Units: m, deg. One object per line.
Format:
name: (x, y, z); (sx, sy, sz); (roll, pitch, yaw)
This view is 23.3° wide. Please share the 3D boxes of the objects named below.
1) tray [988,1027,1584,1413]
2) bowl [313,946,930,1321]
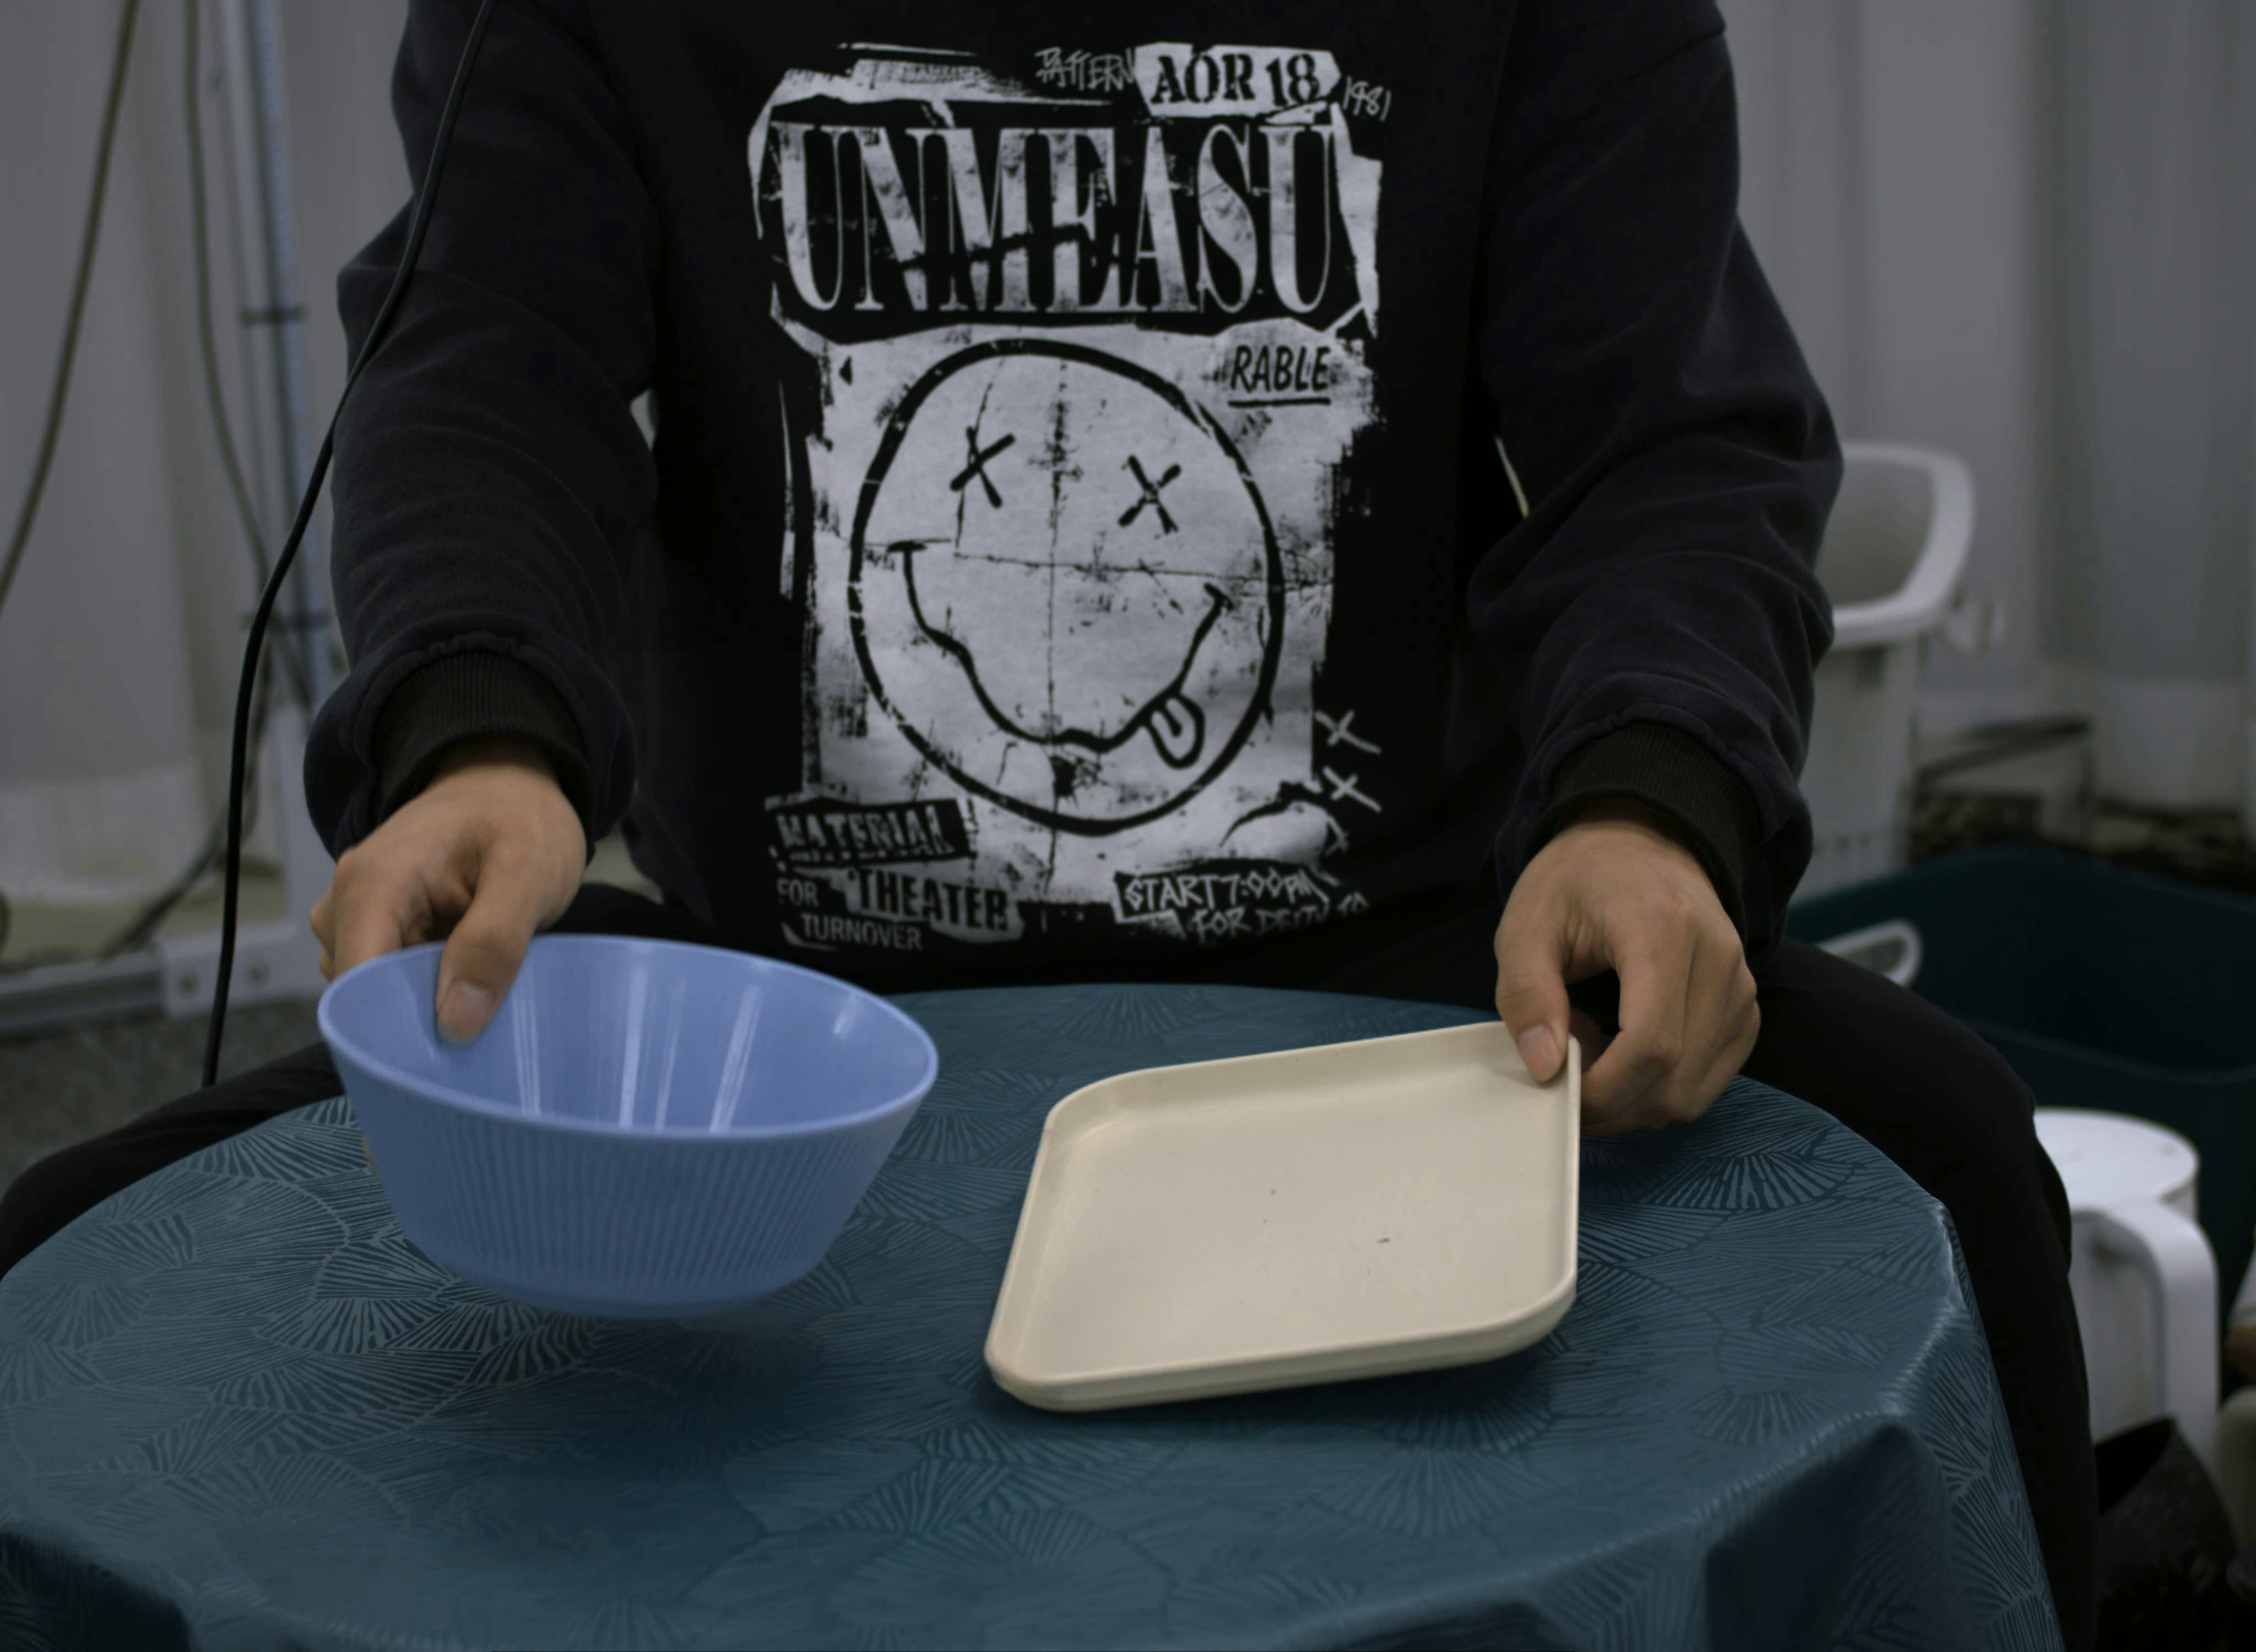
tray: (0.051, 0.116, 1.619); (0.171, 0.017, 0.241); (-7, 18, 7)
bowl: (-0.147, 0.090, 1.560); (0.175, 0.070, 0.177); (7, 15, -2)
